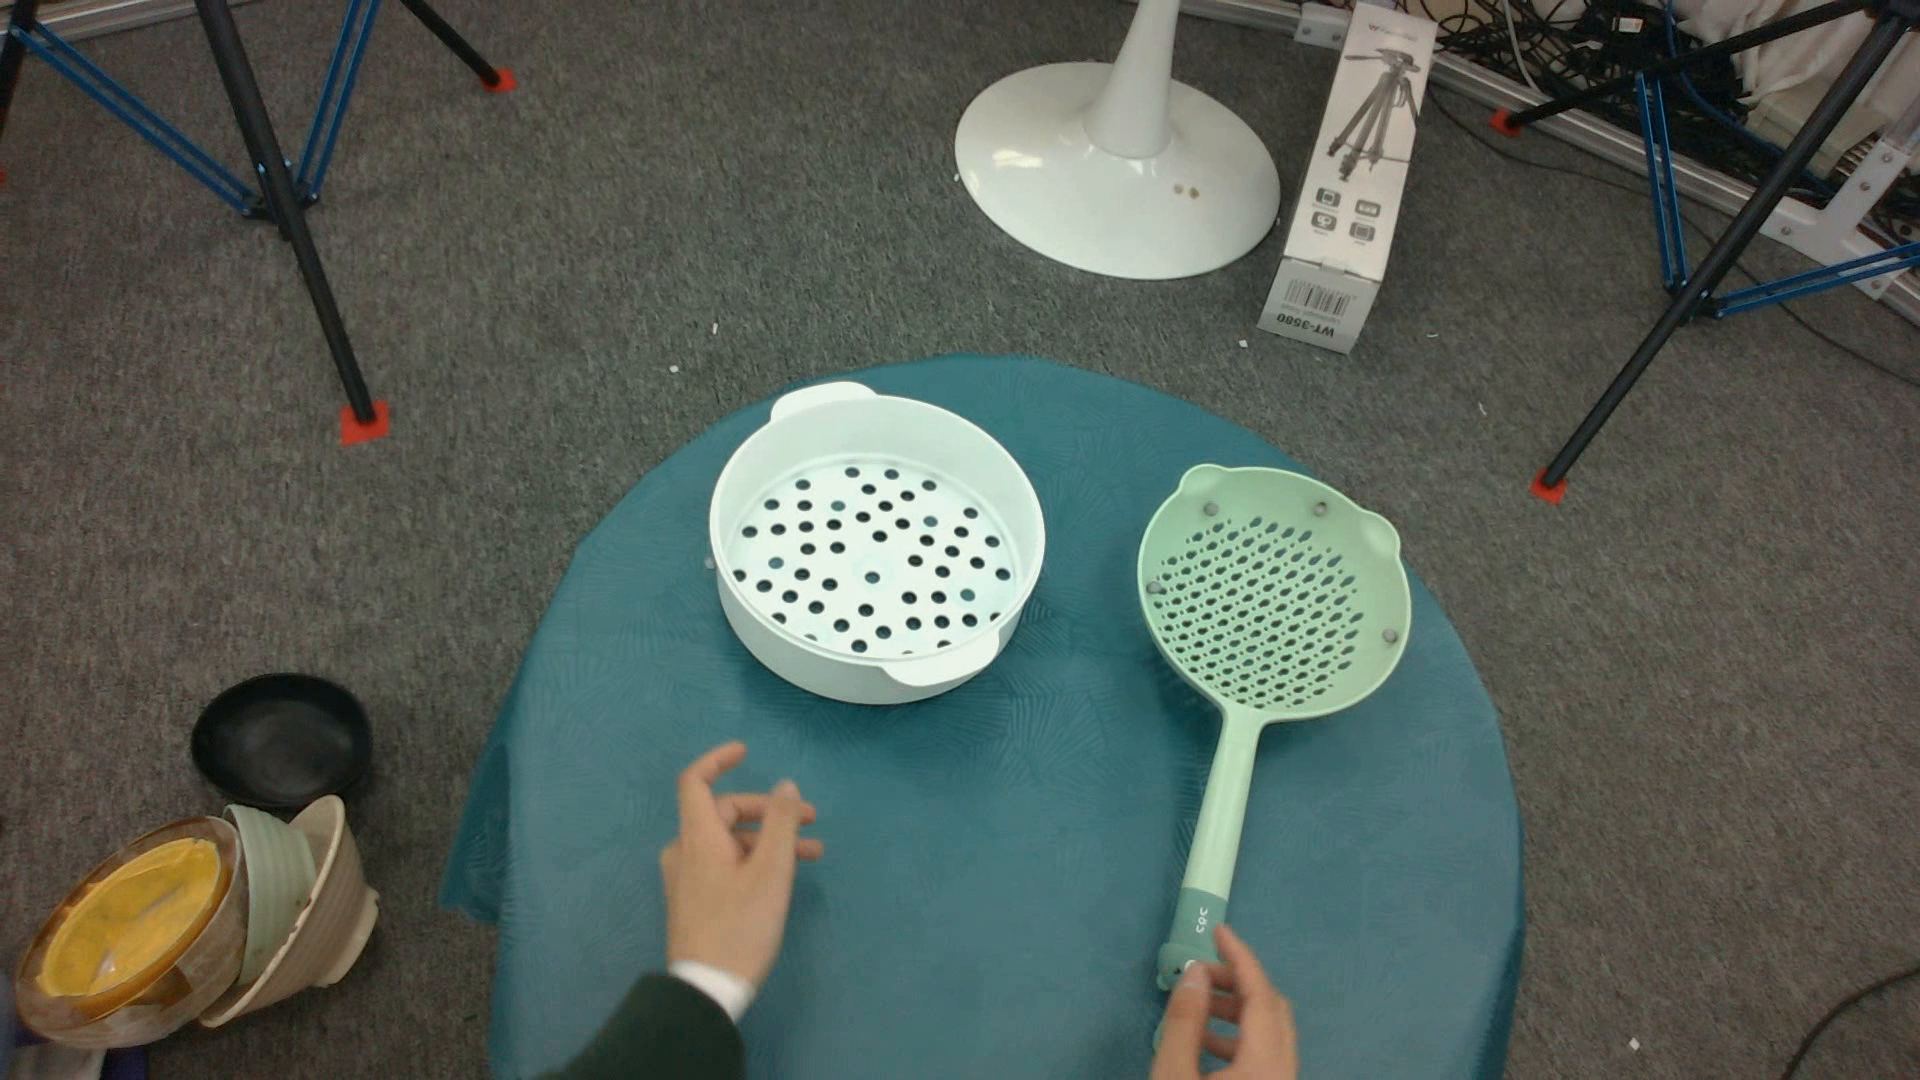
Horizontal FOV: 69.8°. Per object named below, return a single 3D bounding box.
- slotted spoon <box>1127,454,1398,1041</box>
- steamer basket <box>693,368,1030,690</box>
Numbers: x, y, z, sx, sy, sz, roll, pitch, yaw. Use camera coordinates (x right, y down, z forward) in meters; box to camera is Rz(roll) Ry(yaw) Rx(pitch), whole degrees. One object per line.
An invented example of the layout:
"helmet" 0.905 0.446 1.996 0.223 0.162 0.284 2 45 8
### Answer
"slotted spoon" 0.155 0.107 0.802 0.169 0.075 0.360 18 52 4
"steamer basket" -0.061 -0.003 0.846 0.202 0.069 0.231 -16 58 -20
